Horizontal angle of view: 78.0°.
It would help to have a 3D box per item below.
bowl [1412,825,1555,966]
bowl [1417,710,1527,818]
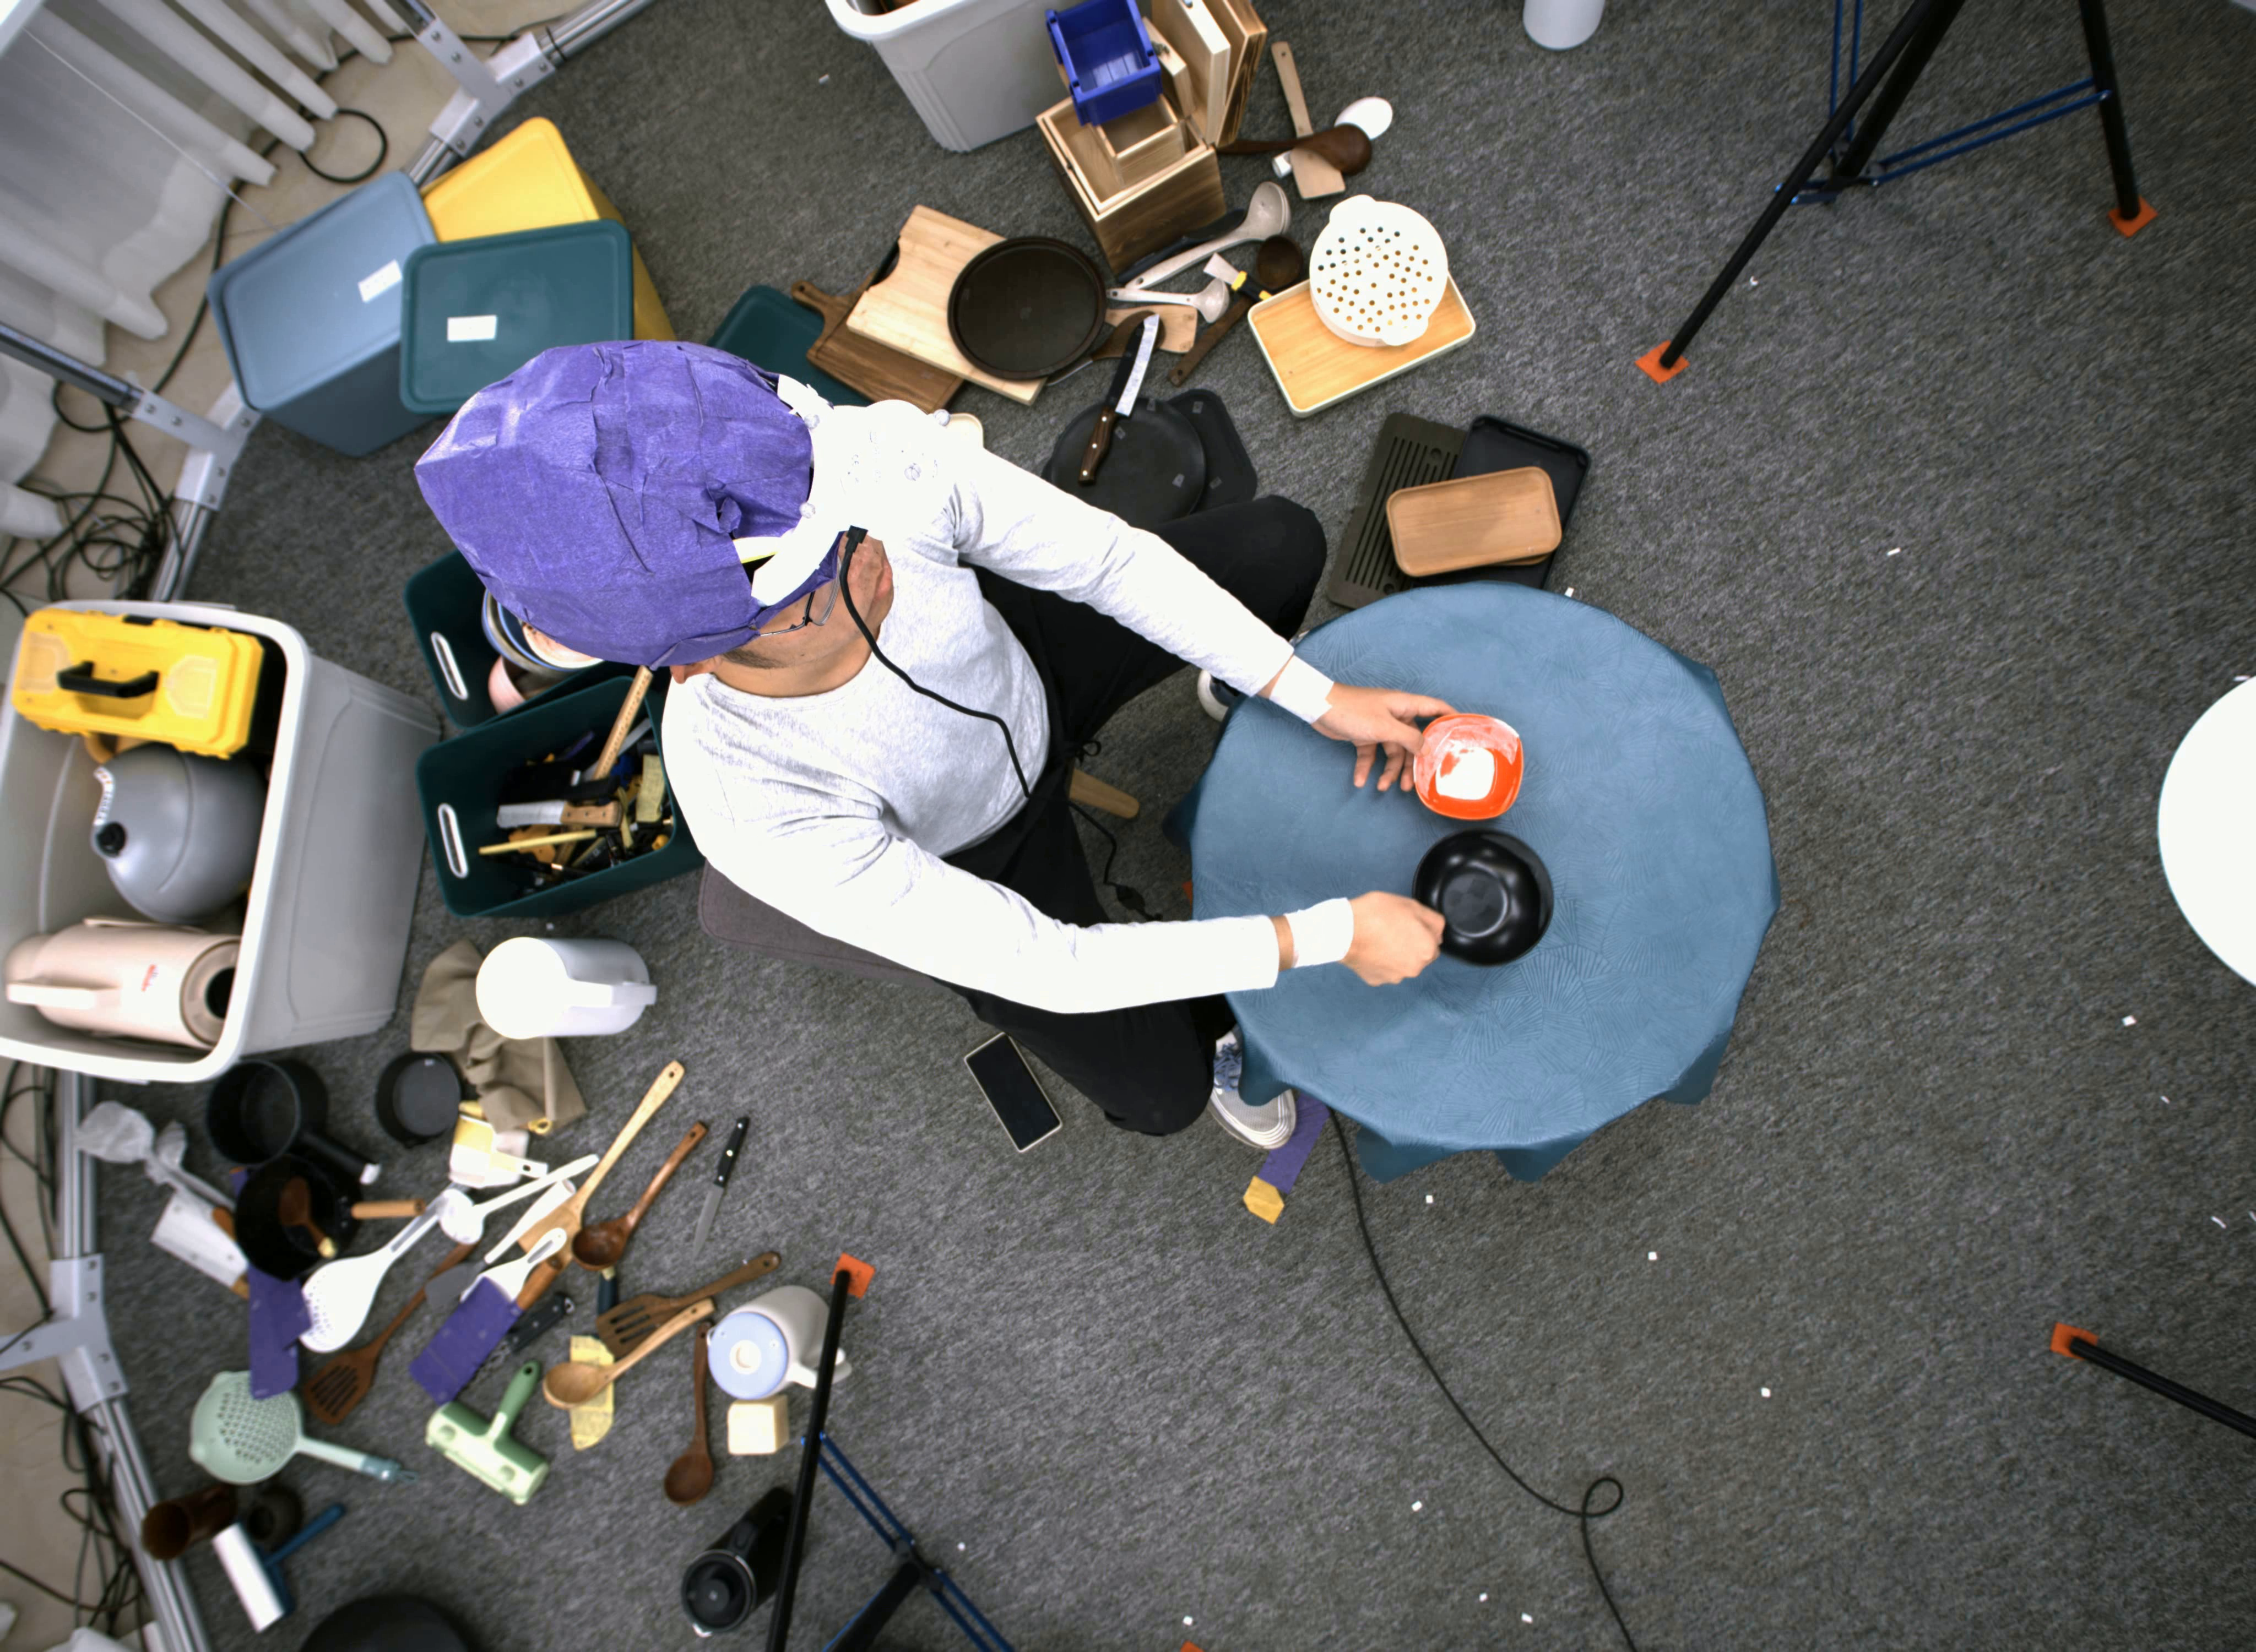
[{"bbox_3d":[0.346,0.070,1.357,0.140,0.050,0.138,-1,78,3],"label":"bowl"},{"bbox_3d":[0.353,-0.063,1.423,0.119,0.051,0.118,0,88,7],"label":"bowl"}]
